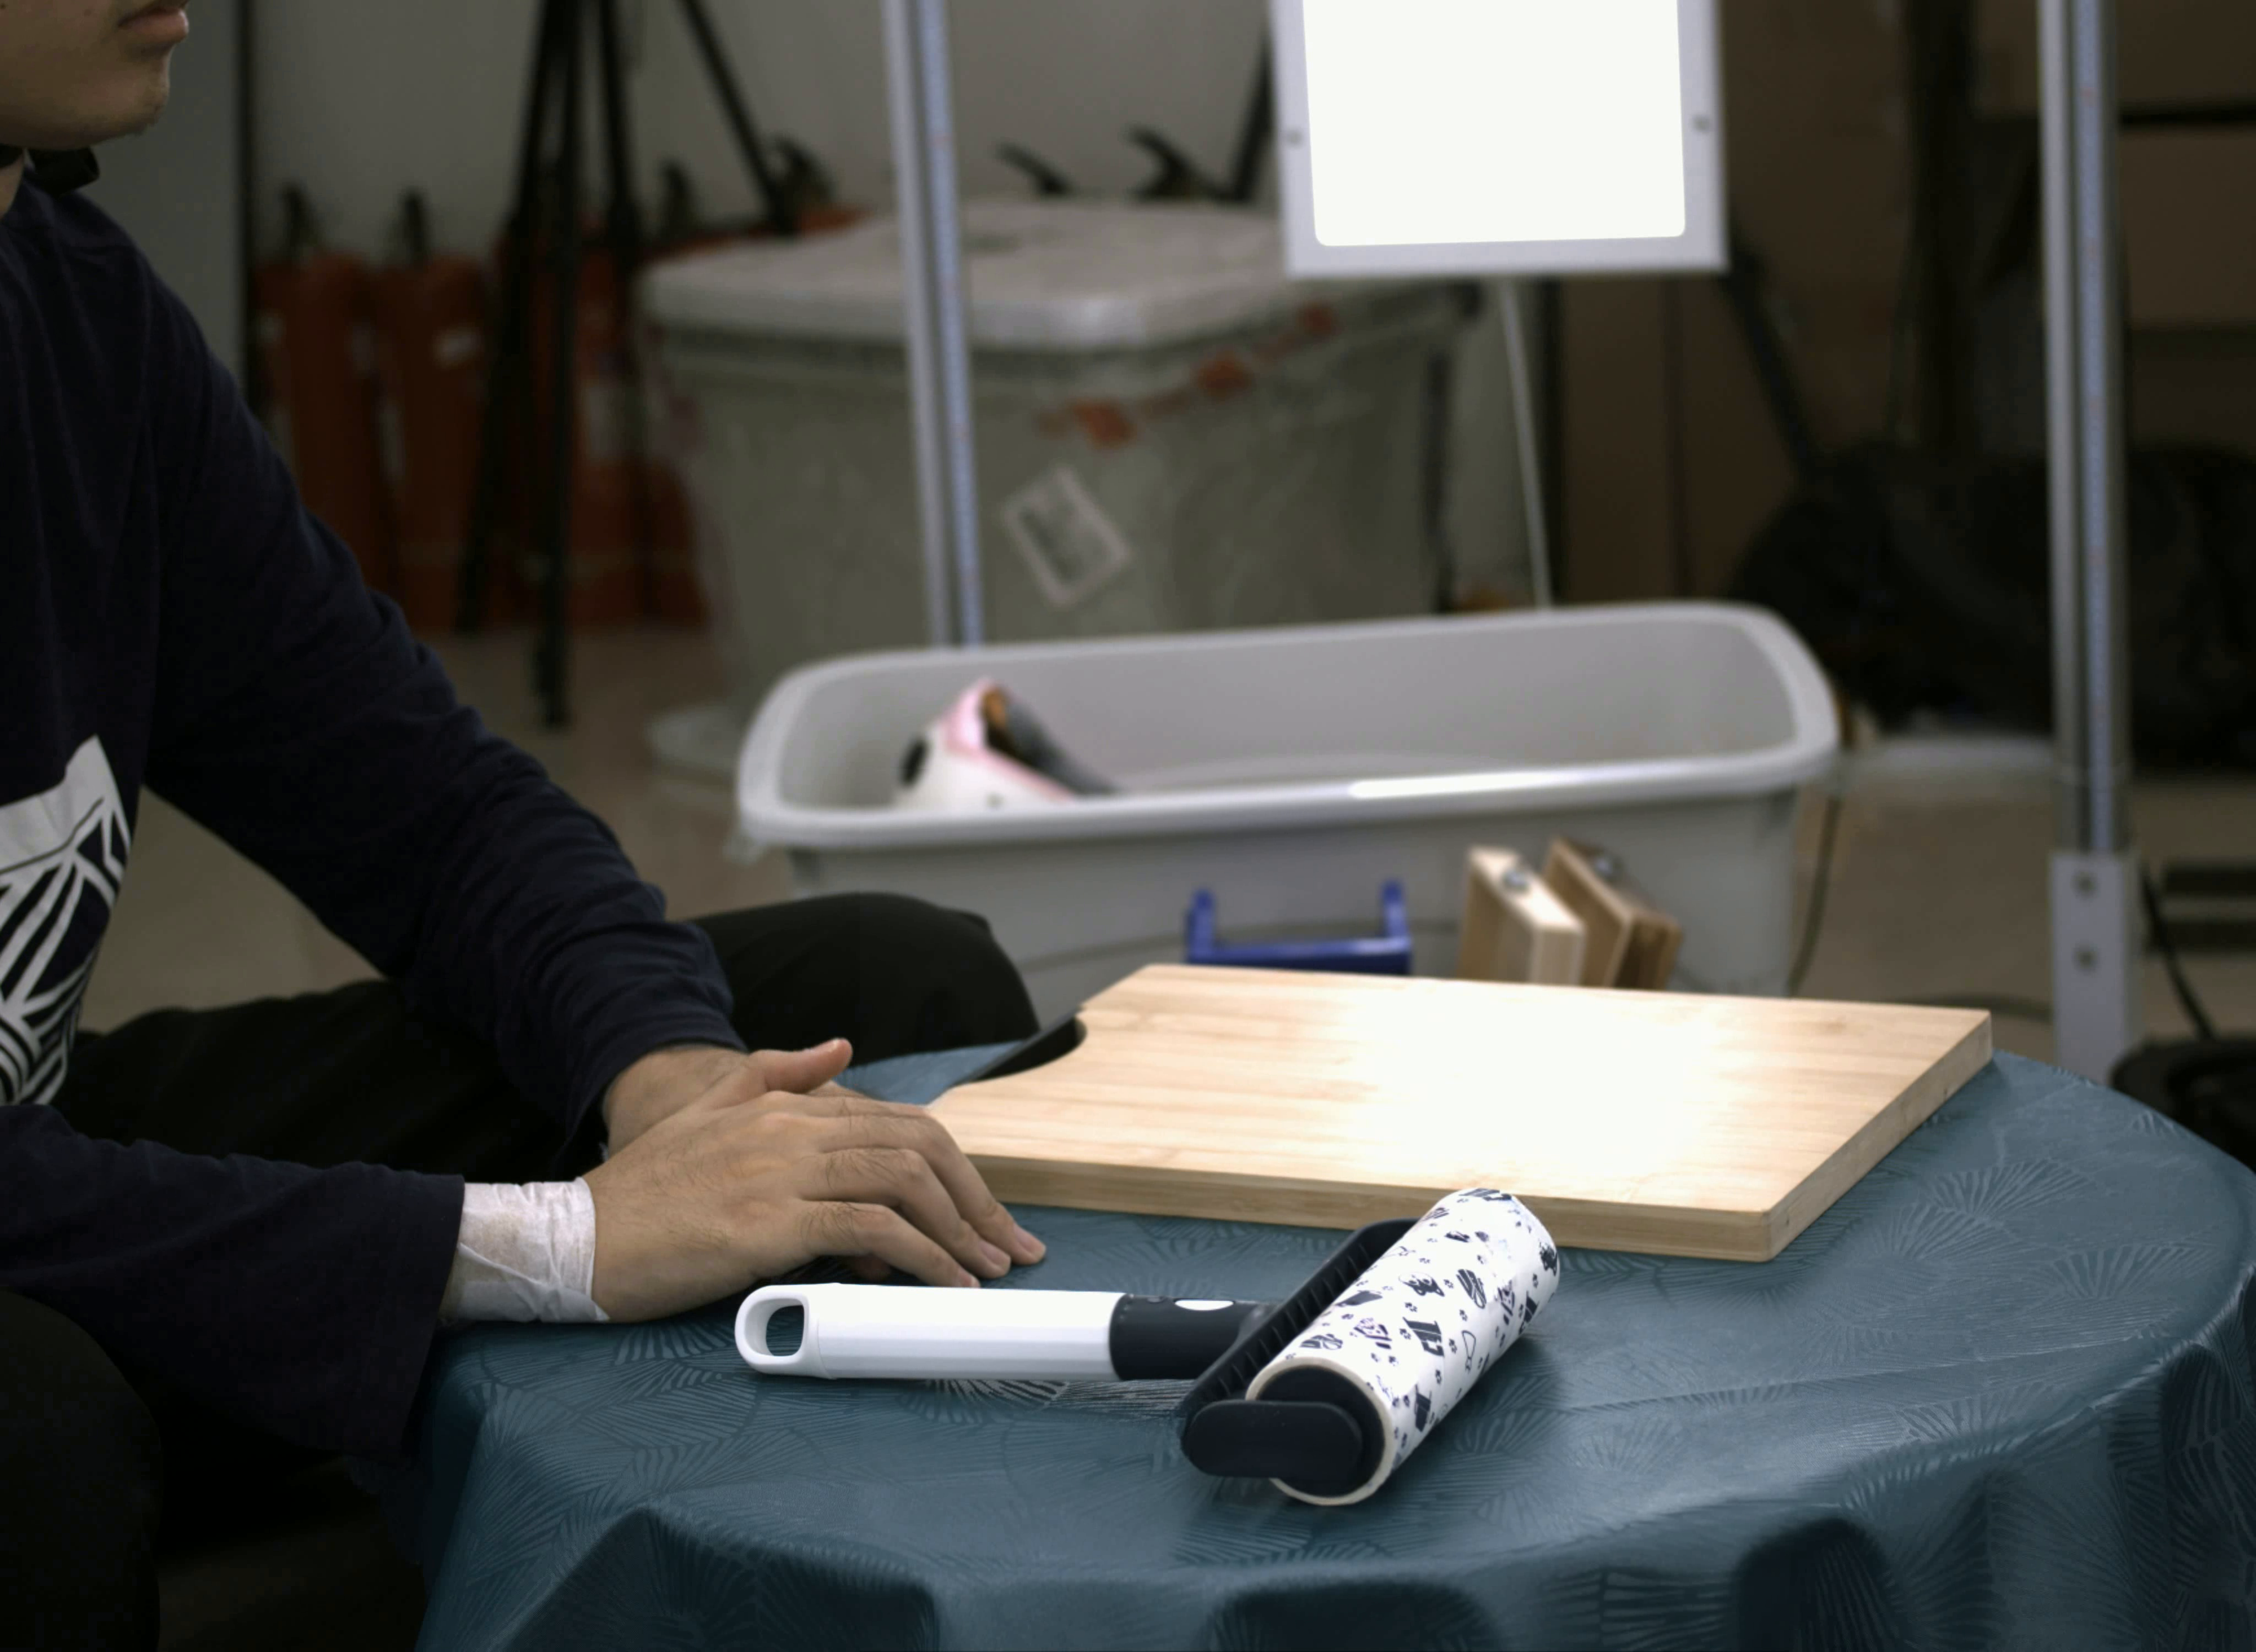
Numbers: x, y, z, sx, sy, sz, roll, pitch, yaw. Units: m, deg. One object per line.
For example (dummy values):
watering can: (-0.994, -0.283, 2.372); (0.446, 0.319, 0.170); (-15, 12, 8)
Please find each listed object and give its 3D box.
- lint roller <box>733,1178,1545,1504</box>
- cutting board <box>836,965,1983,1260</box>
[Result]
lint roller: (-0.011, 0.157, 1.697); (0.251, 0.050, 0.173); (-2, 15, 24)
cutting board: (0.103, 0.098, 1.950); (0.355, 0.023, 0.245); (2, 15, 28)
